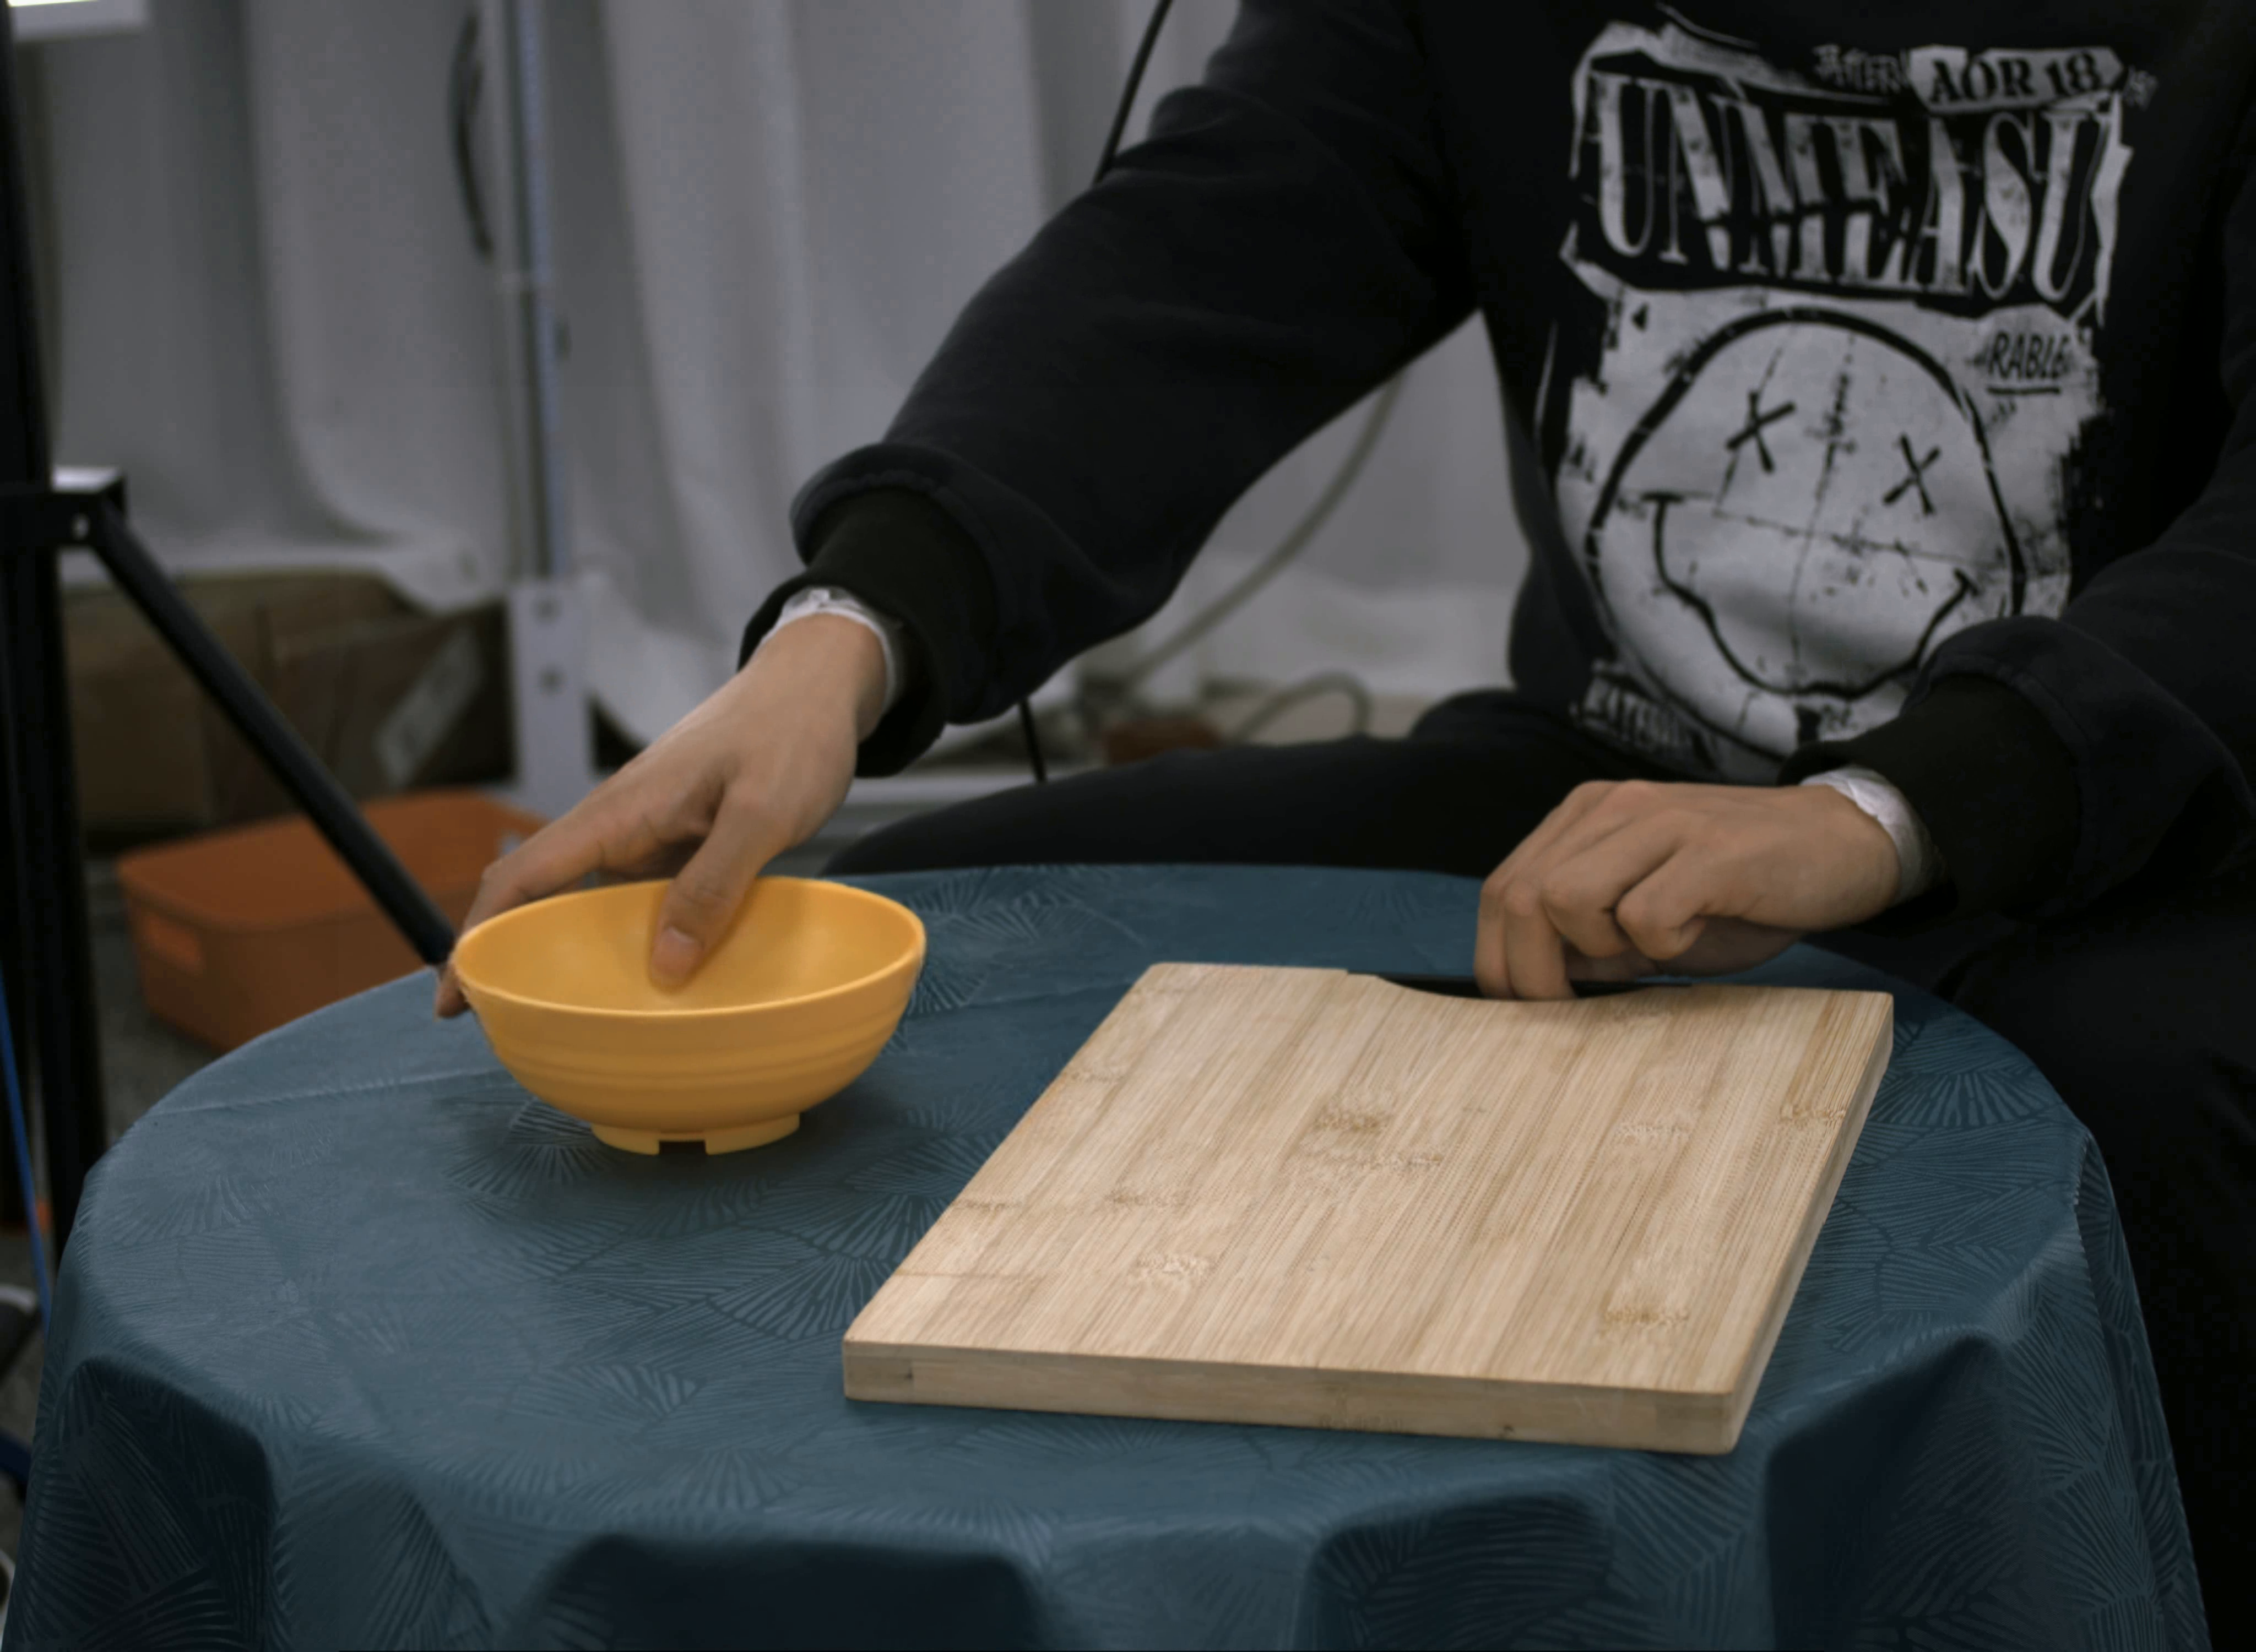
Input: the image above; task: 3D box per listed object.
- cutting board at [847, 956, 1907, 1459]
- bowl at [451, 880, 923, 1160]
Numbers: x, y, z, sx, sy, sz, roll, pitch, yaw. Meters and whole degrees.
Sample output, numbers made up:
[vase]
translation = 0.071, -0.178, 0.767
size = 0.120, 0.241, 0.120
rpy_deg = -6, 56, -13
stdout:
[cutting board]
translation = 0.084, 0.102, 1.535
size = 0.252, 0.023, 0.346
rpy_deg = 2, 16, 14
[bowl]
translation = -0.135, 0.064, 1.633
size = 0.144, 0.060, 0.146
rpy_deg = 0, 15, -1
